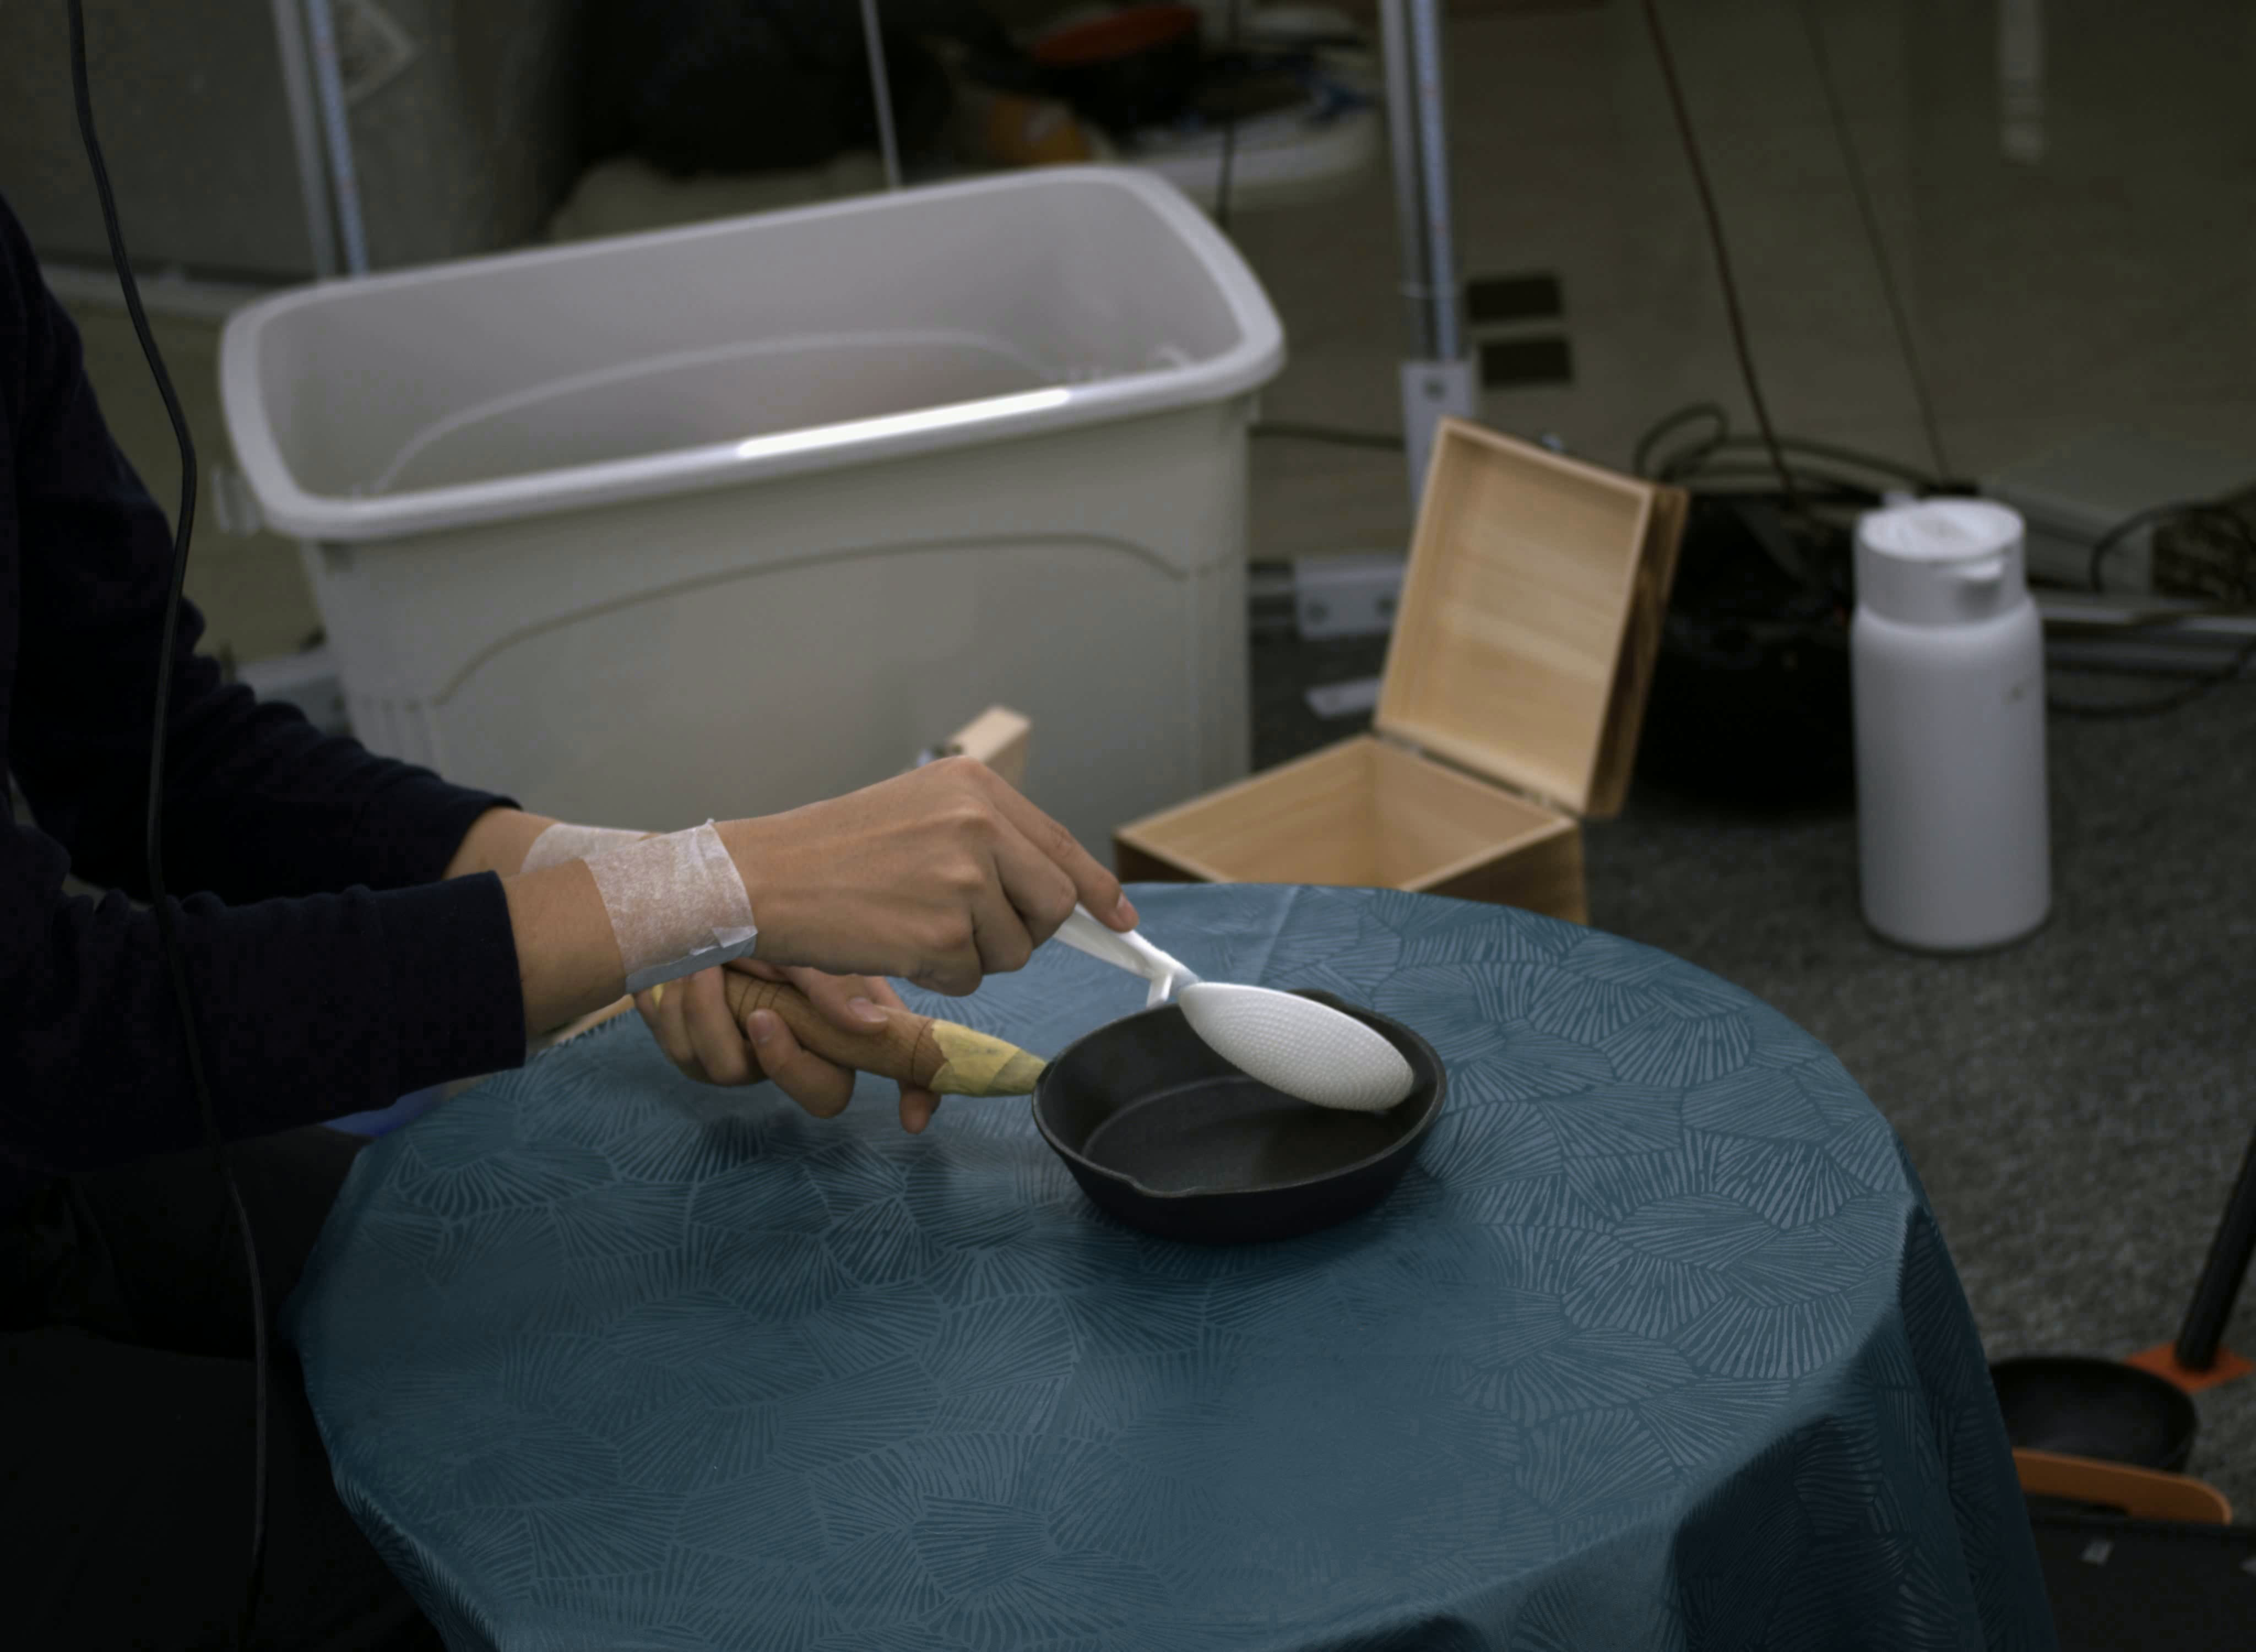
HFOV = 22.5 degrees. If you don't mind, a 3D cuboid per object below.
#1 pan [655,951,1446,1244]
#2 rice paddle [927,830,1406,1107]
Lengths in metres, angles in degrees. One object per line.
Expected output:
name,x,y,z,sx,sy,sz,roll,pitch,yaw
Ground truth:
pan,-0.035,0.095,2.175,0.323,0.050,0.167,9,29,22
rice paddle,0.018,0.058,2.134,0.069,0.206,0.029,-31,38,53
